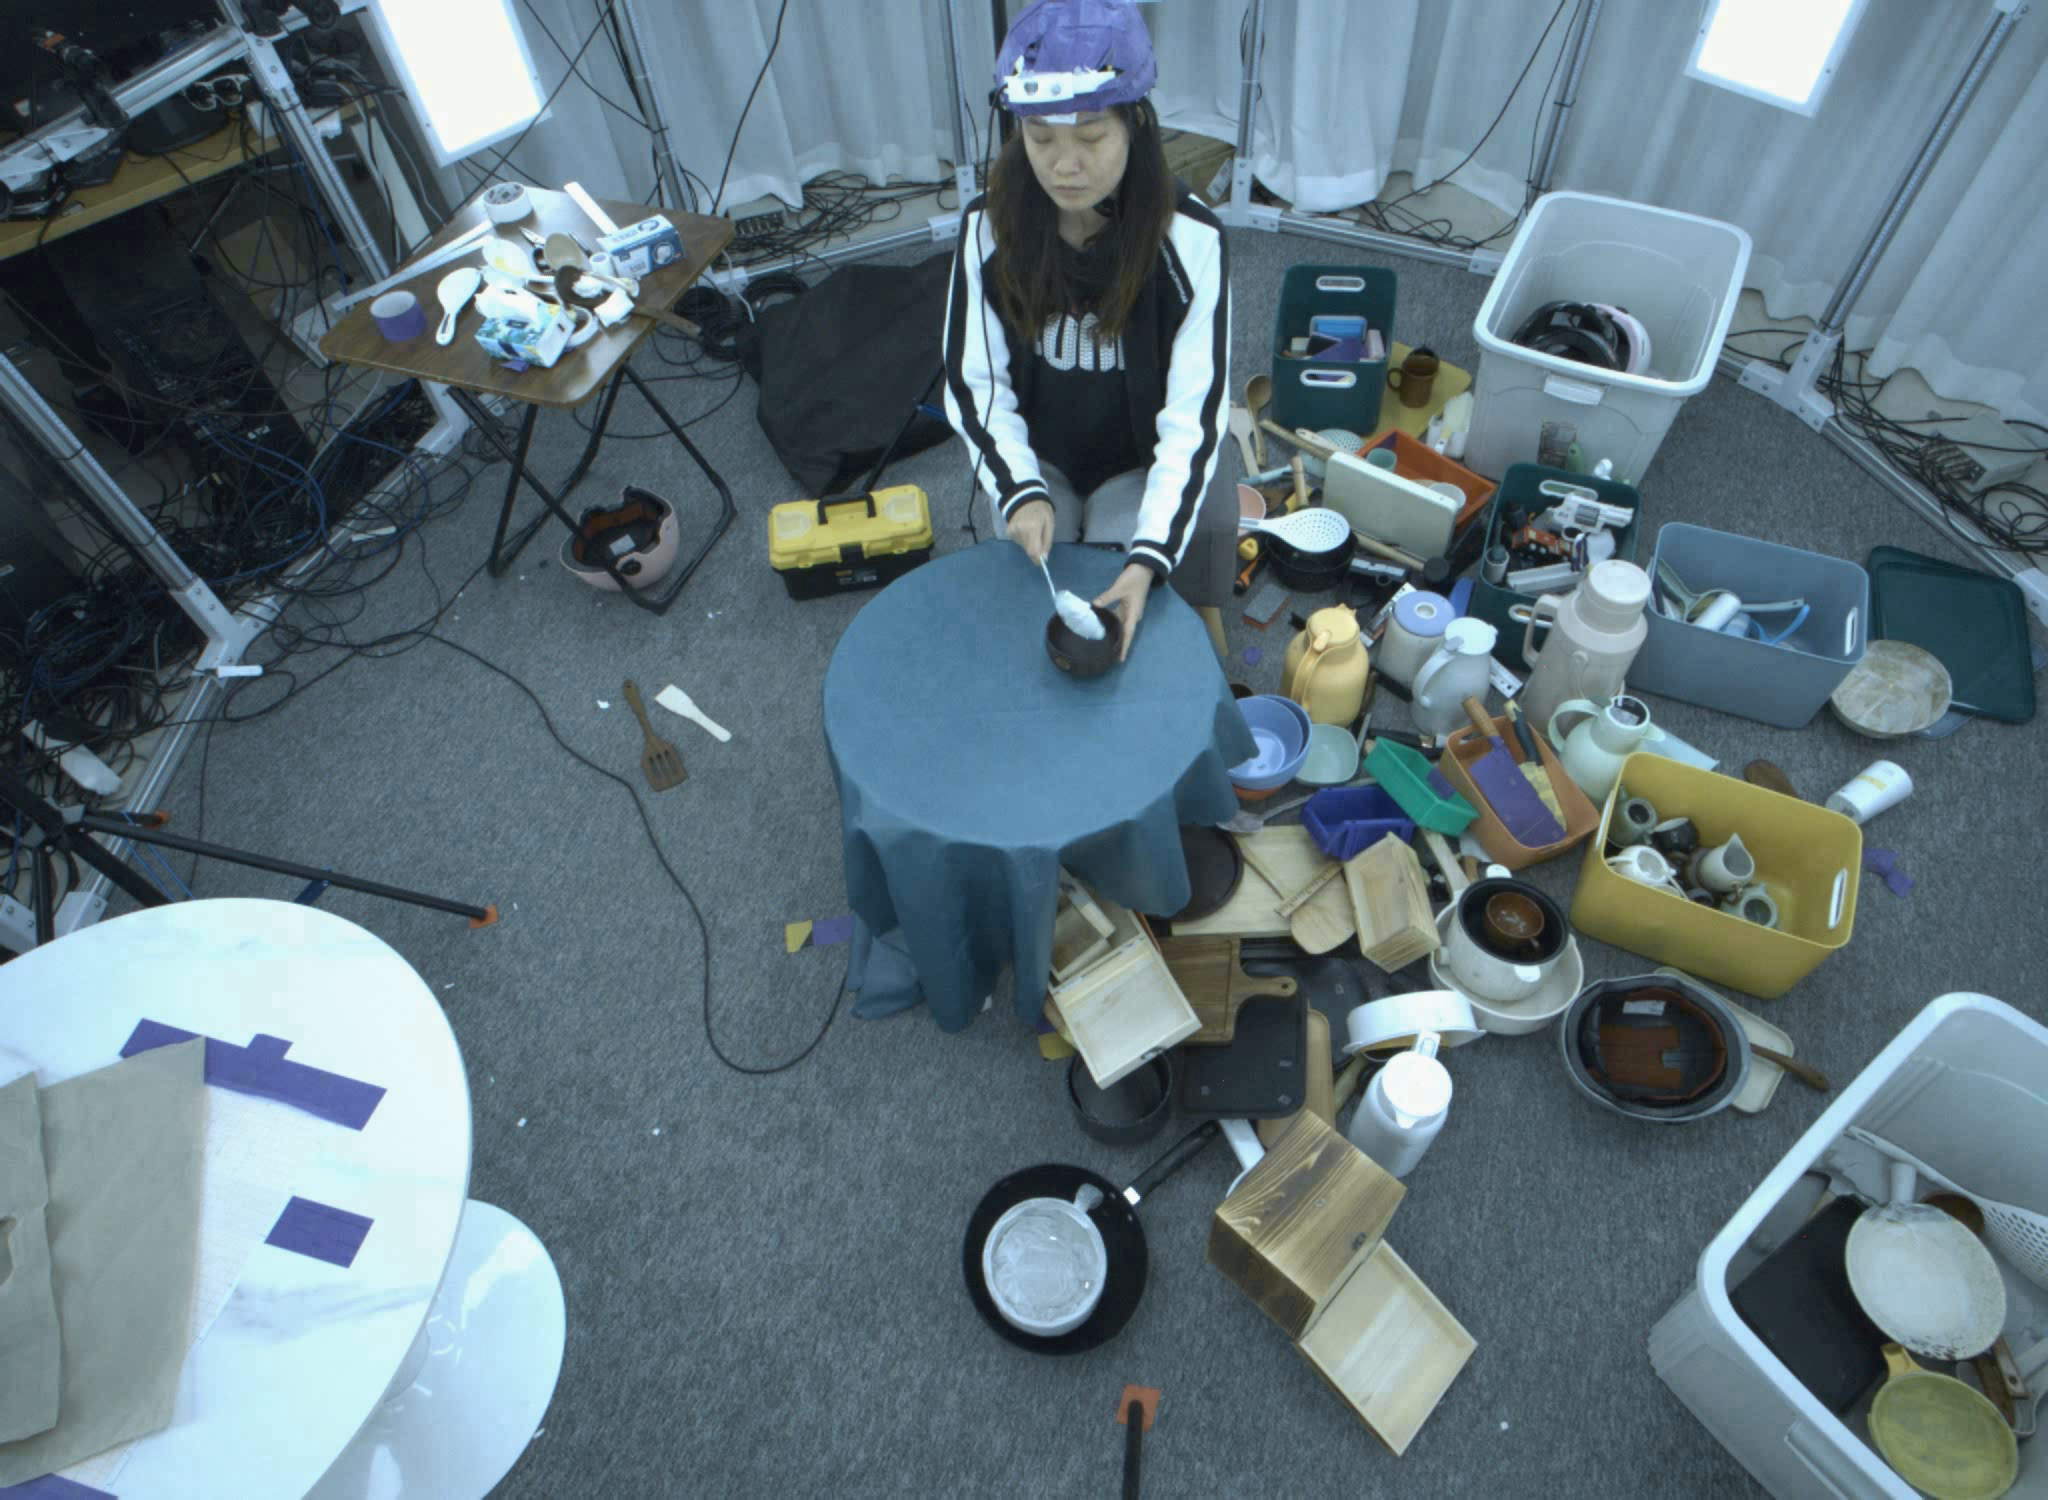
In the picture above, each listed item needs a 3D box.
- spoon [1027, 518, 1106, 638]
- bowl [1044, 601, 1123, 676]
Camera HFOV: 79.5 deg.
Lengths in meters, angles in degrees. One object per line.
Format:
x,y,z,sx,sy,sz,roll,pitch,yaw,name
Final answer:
0.061,-0.268,1.852,0.059,0.102,0.273,-19,51,4,spoon
0.090,-0.160,1.853,0.118,0.070,0.117,-1,55,2,bowl
